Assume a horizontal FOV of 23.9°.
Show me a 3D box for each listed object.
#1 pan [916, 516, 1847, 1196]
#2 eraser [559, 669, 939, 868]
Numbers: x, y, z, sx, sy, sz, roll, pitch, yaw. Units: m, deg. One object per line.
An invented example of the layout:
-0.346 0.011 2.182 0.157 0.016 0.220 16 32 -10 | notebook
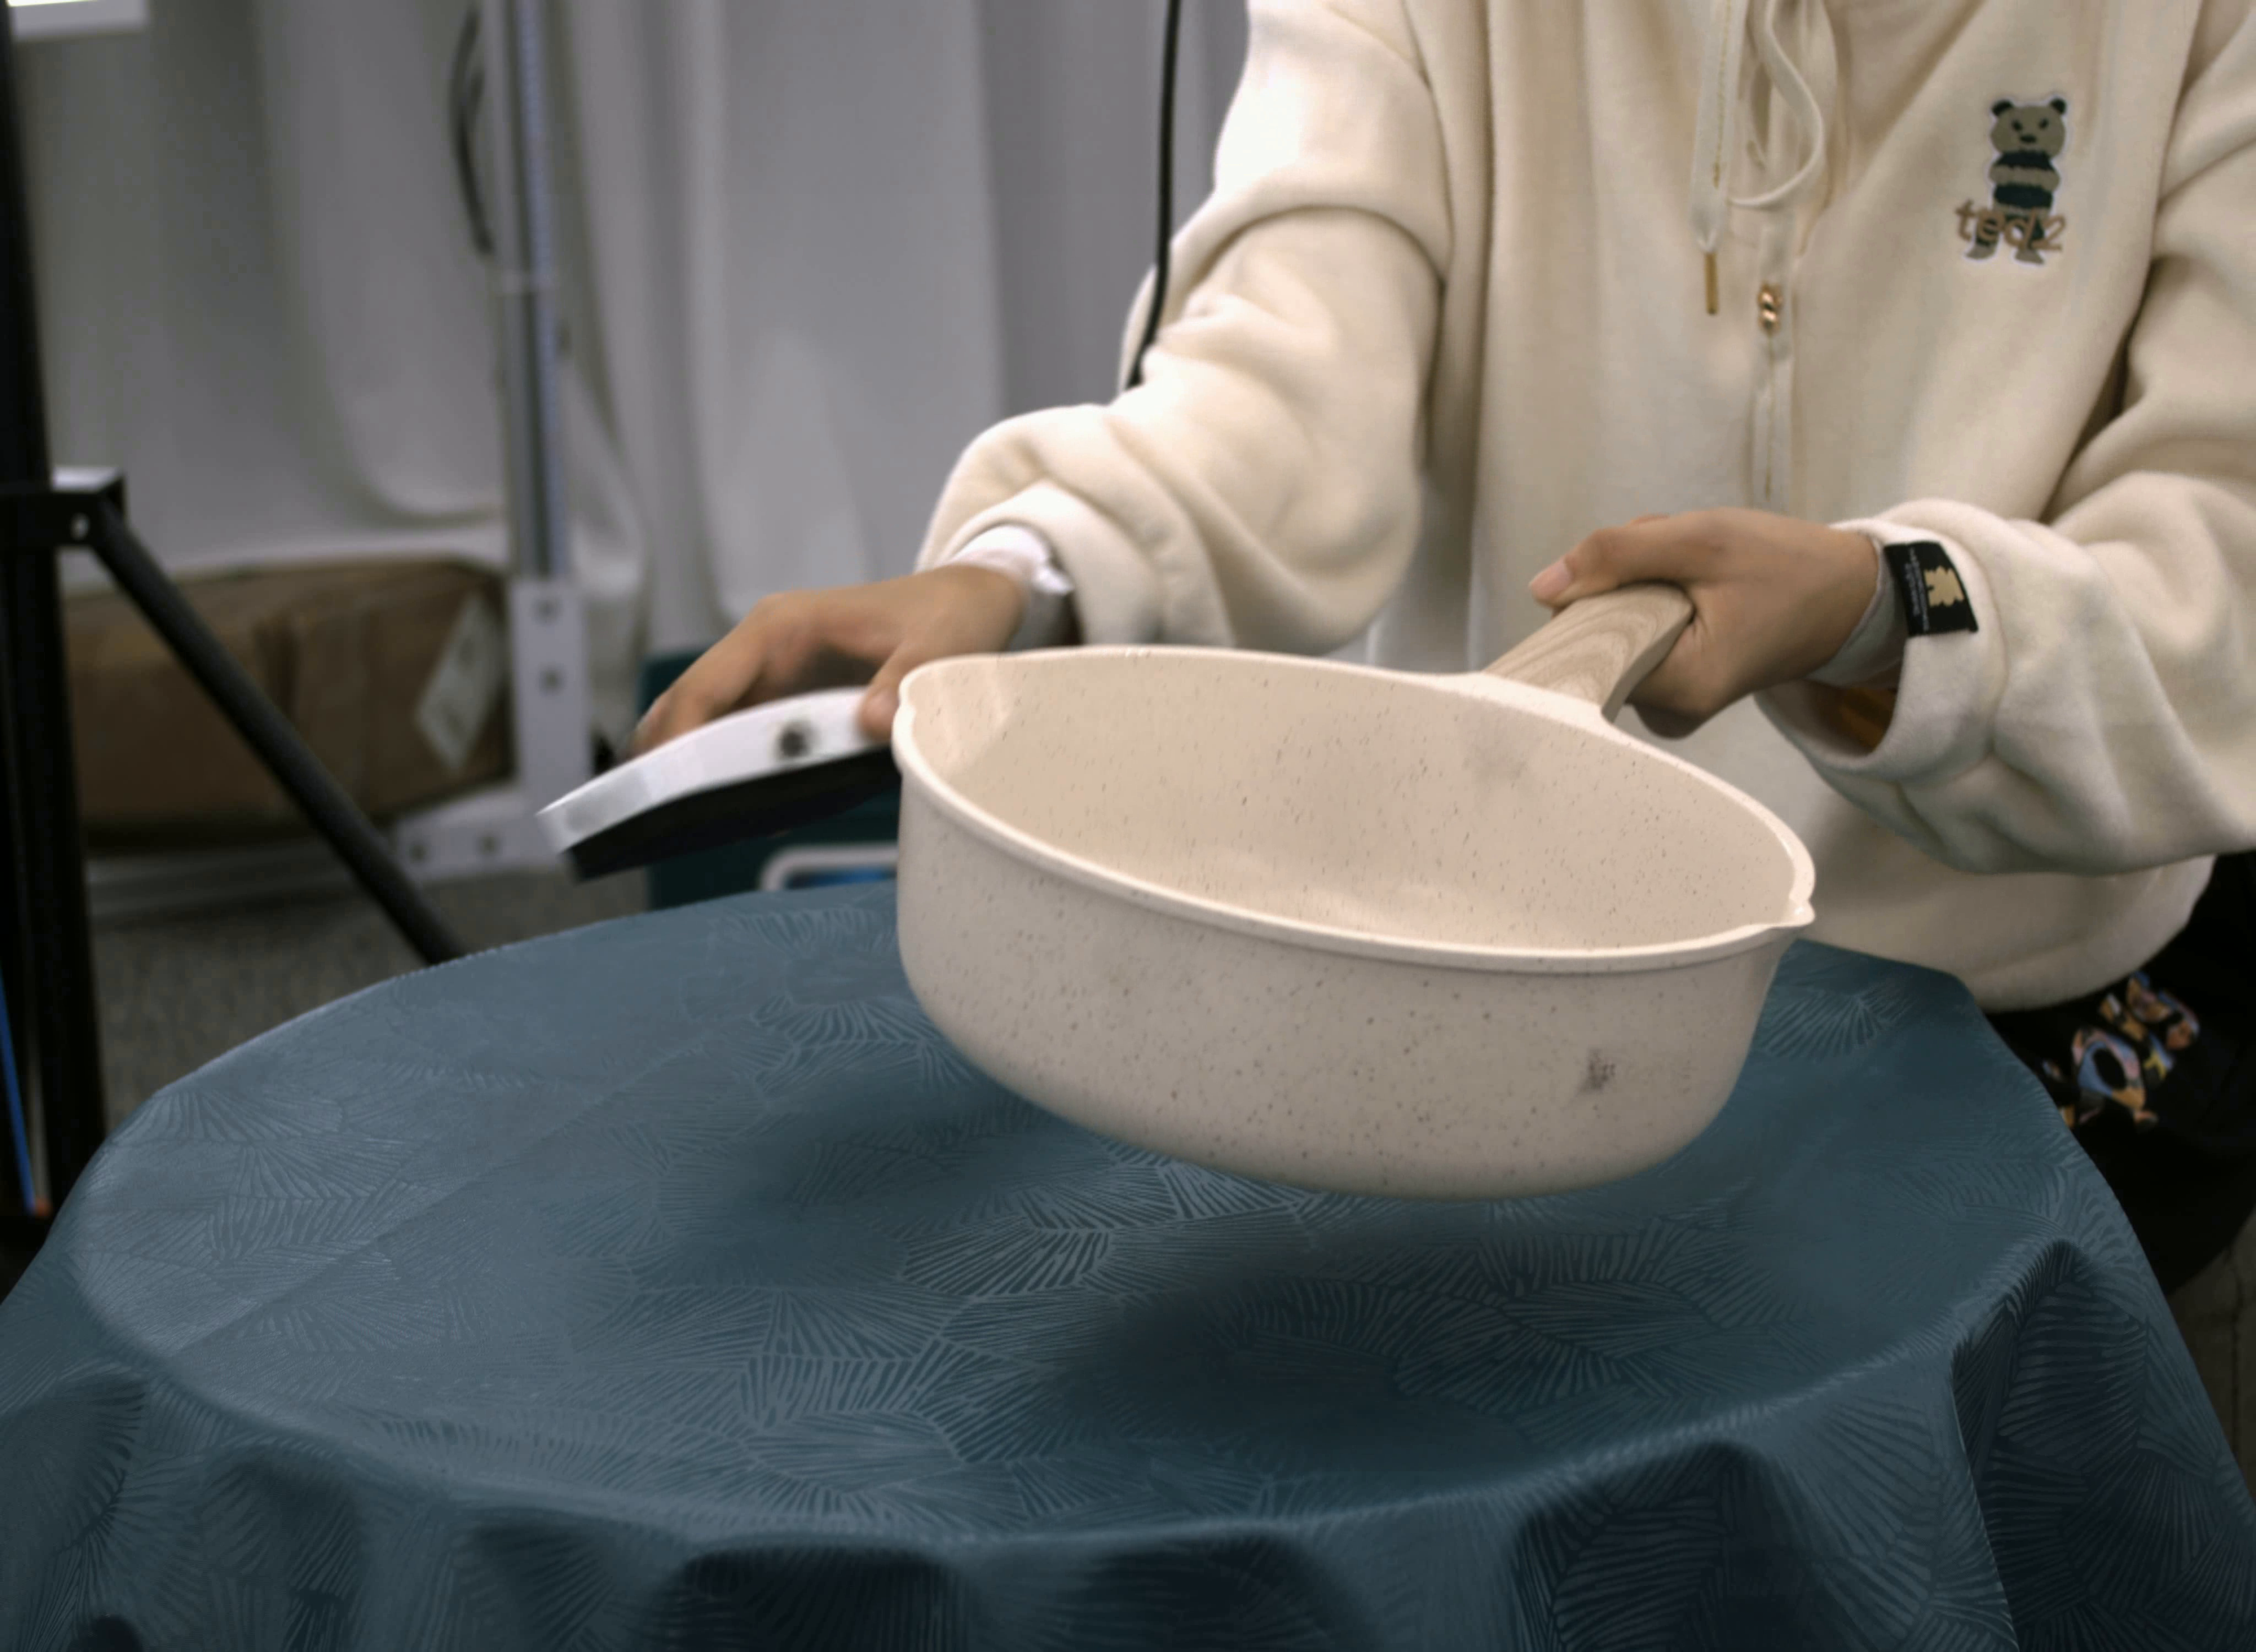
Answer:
0.098 -0.001 1.509 0.267 0.102 0.428 15 18 21 | pan
-0.109 -0.018 1.591 0.064 0.035 0.128 -23 -6 36 | eraser
